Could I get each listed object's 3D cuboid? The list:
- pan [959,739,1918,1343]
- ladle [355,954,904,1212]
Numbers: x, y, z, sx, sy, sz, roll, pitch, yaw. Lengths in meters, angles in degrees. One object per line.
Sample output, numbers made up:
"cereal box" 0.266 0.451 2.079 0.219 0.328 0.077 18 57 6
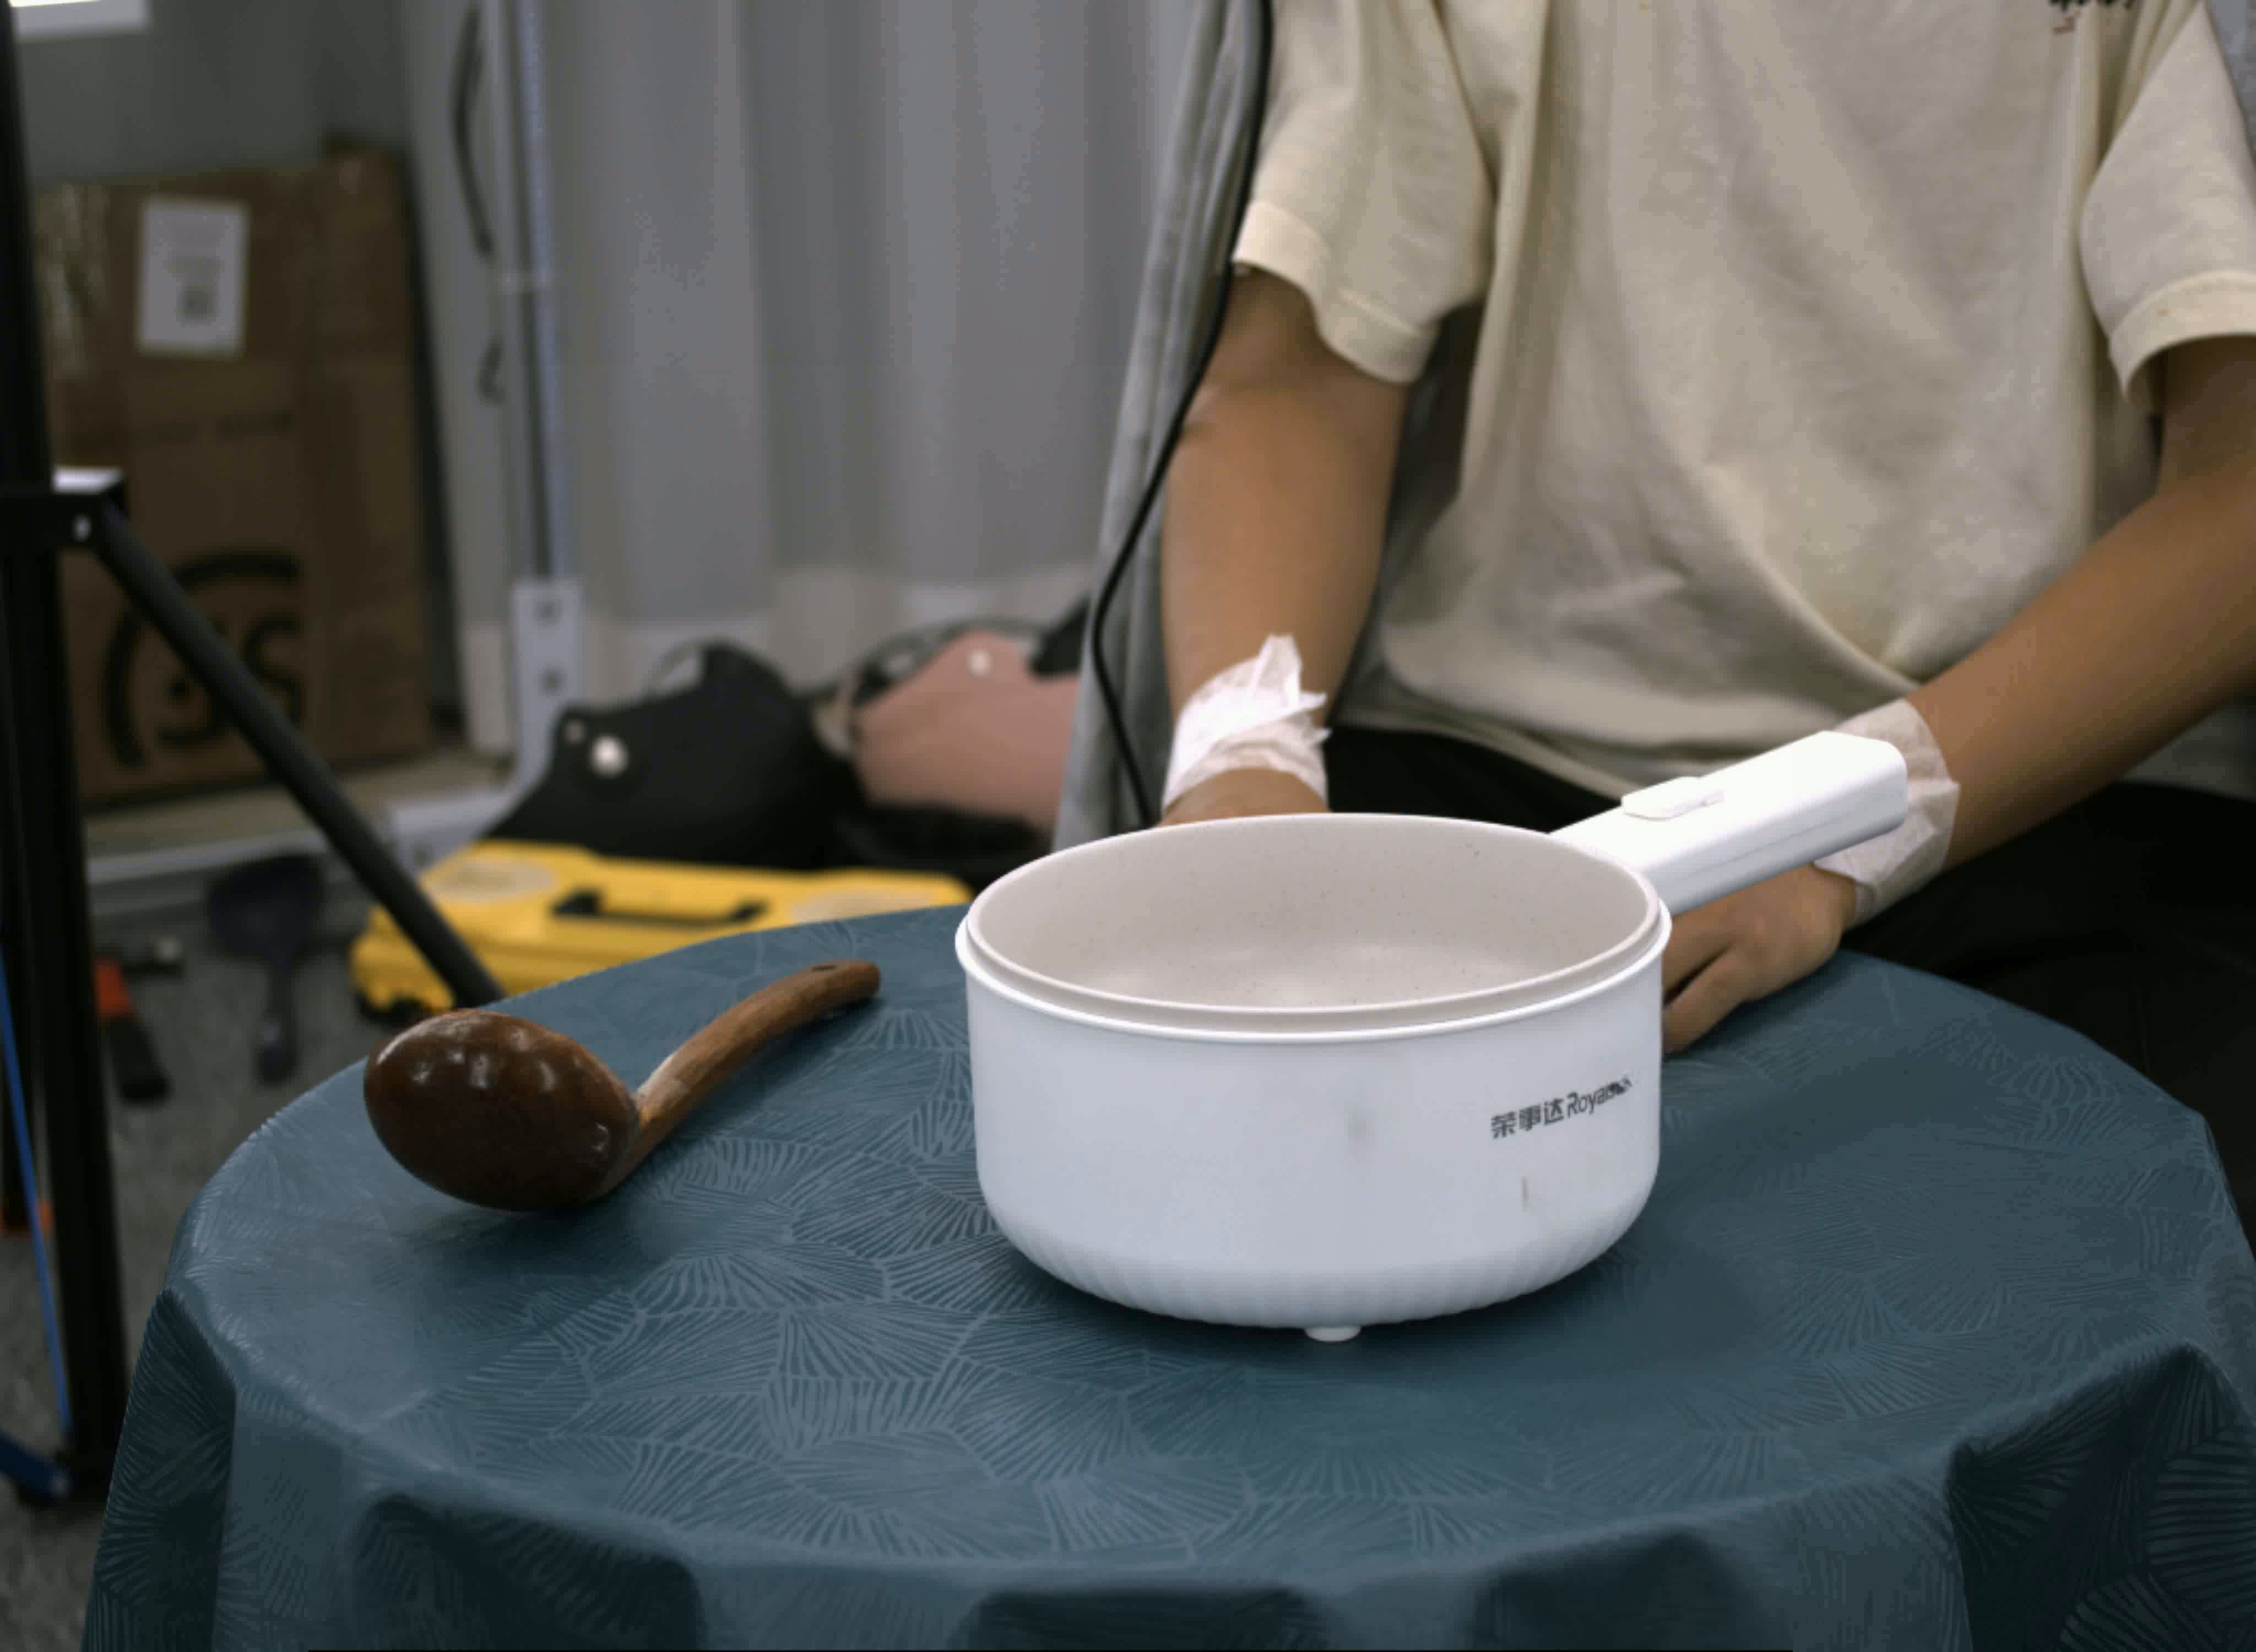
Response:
"pan" 0.107 0.056 1.545 0.346 0.102 0.206 -16 19 -42
"ladle" -0.143 0.054 1.629 0.083 0.076 0.270 2 17 24
